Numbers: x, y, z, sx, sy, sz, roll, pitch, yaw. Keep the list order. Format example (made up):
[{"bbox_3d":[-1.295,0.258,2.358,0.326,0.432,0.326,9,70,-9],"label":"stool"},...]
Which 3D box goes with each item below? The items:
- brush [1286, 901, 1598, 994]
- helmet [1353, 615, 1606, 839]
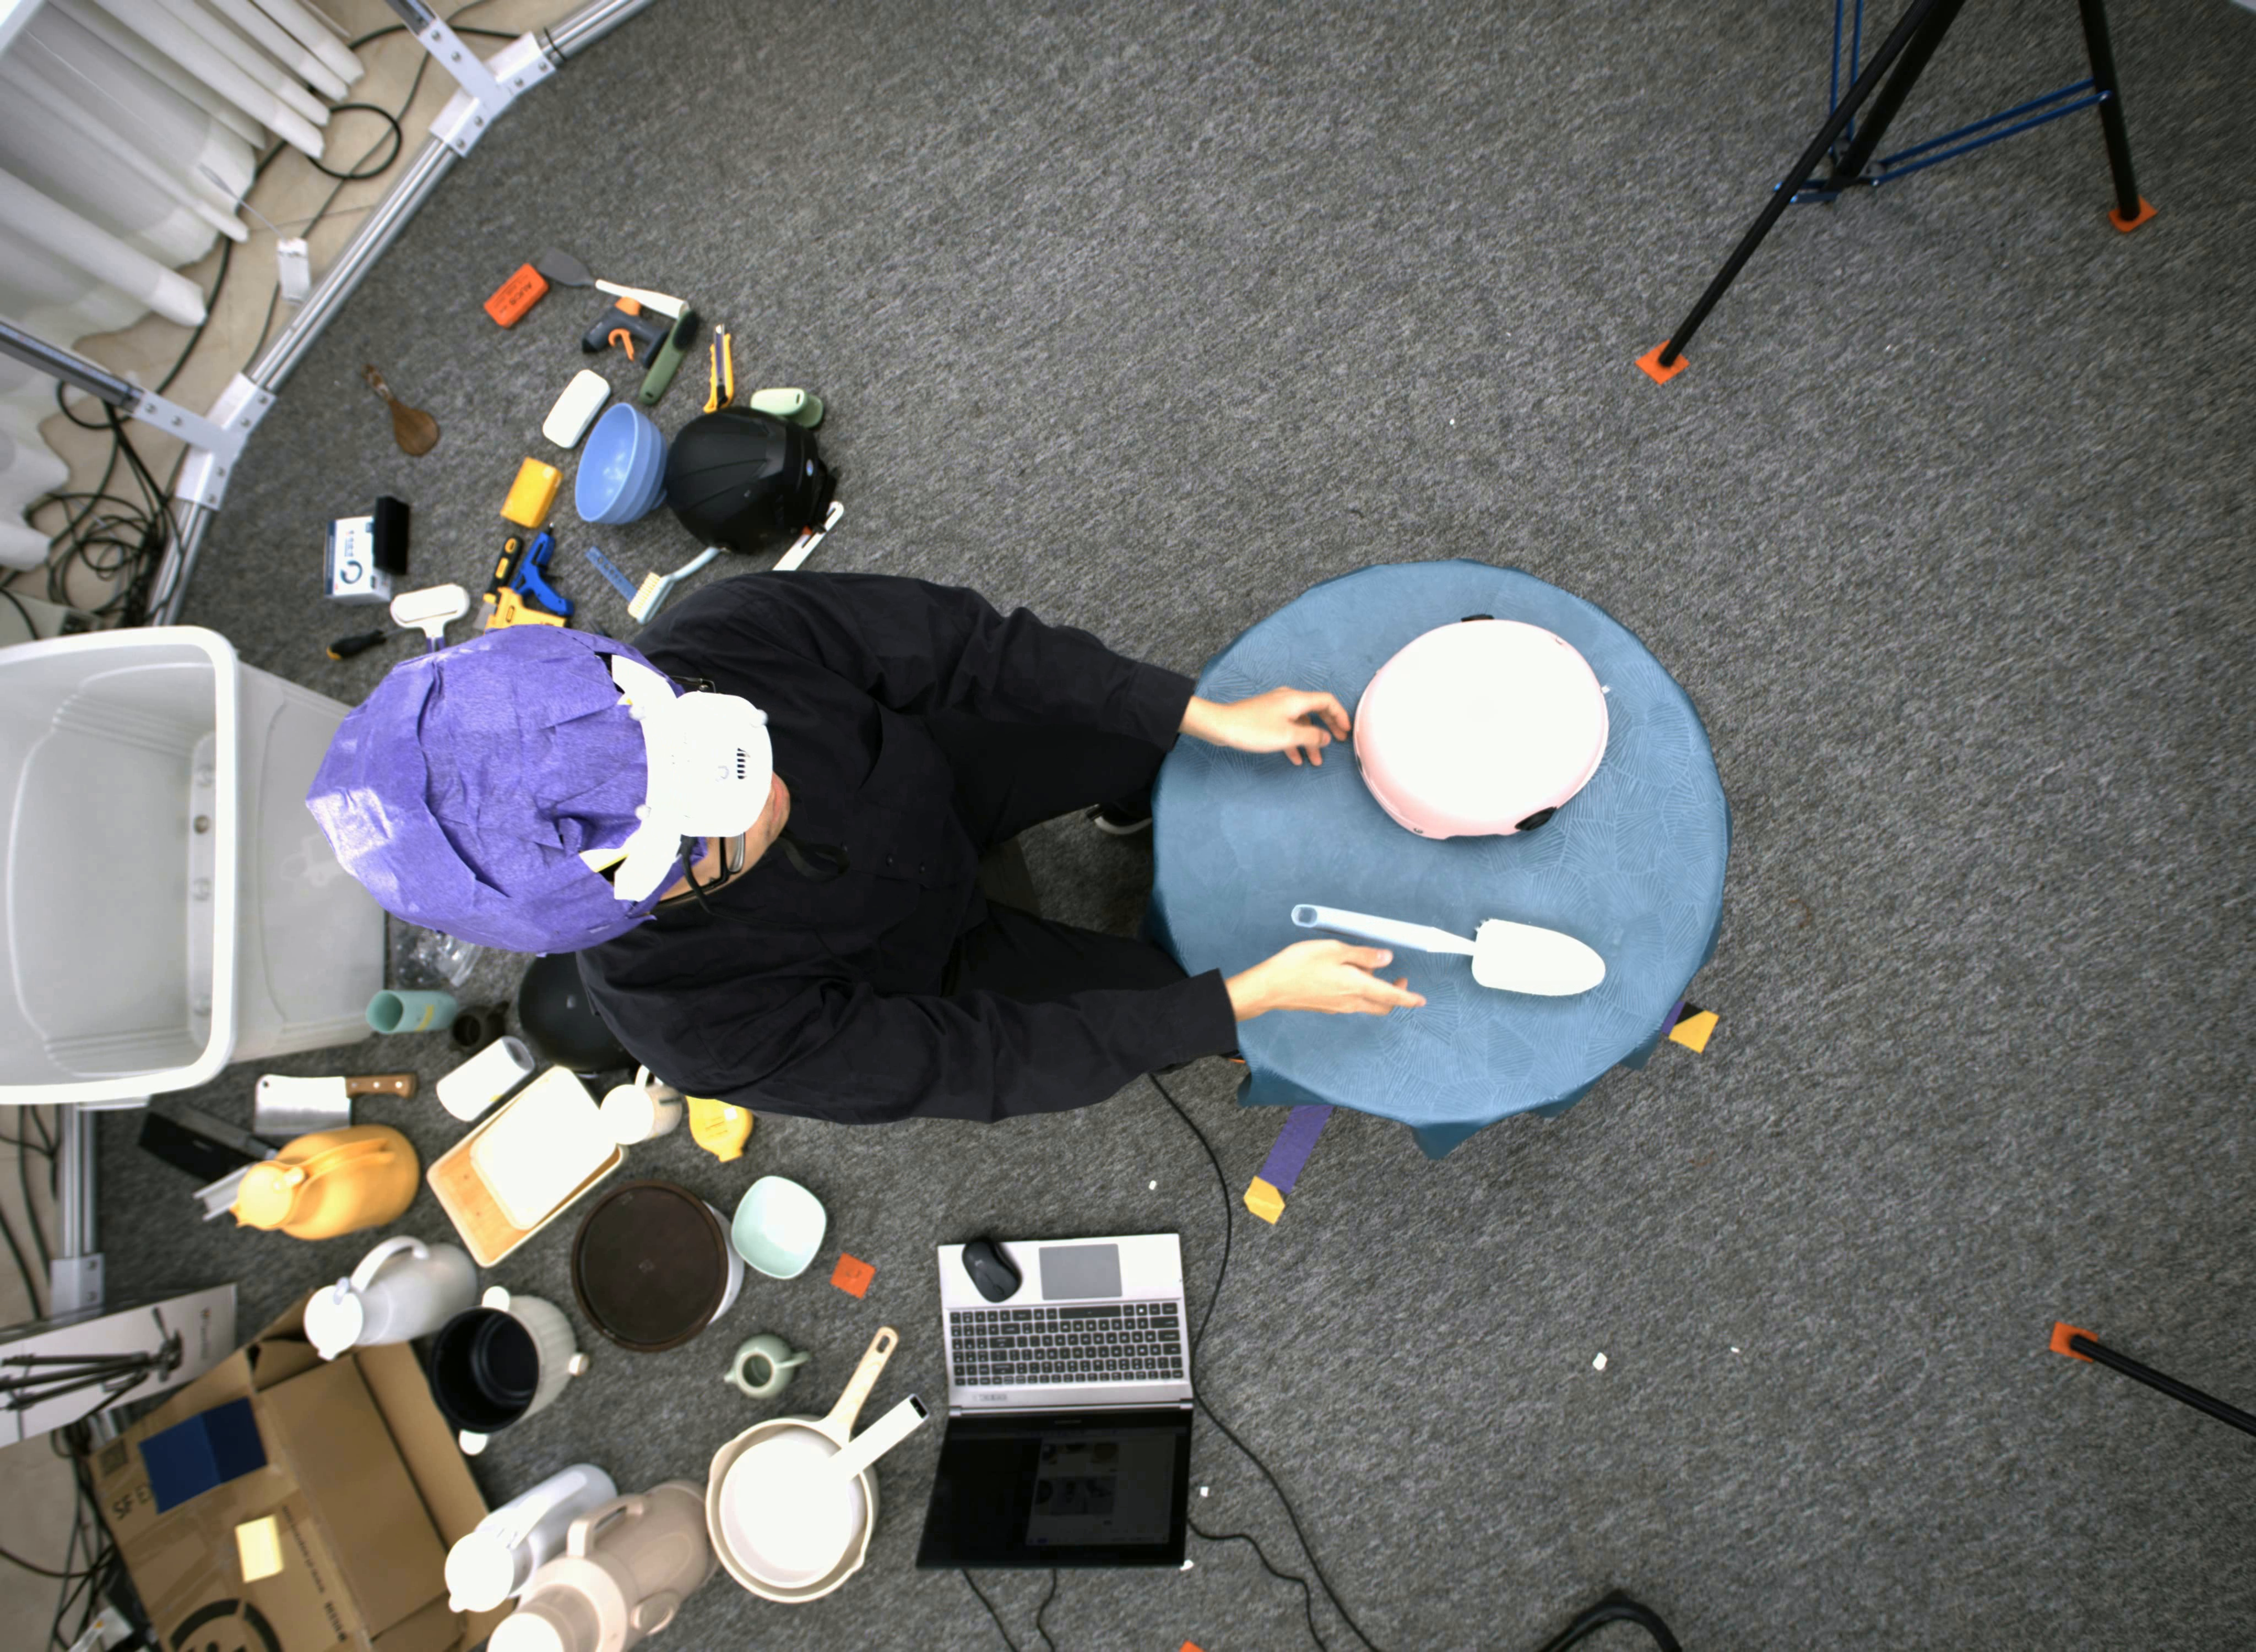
[{"bbox_3d":[0.316,0.112,1.405,0.326,0.087,0.081,11,51,-2],"label":"brush"},{"bbox_3d":[0.362,-0.109,1.376,0.267,0.159,0.232,-15,83,5],"label":"helmet"}]
